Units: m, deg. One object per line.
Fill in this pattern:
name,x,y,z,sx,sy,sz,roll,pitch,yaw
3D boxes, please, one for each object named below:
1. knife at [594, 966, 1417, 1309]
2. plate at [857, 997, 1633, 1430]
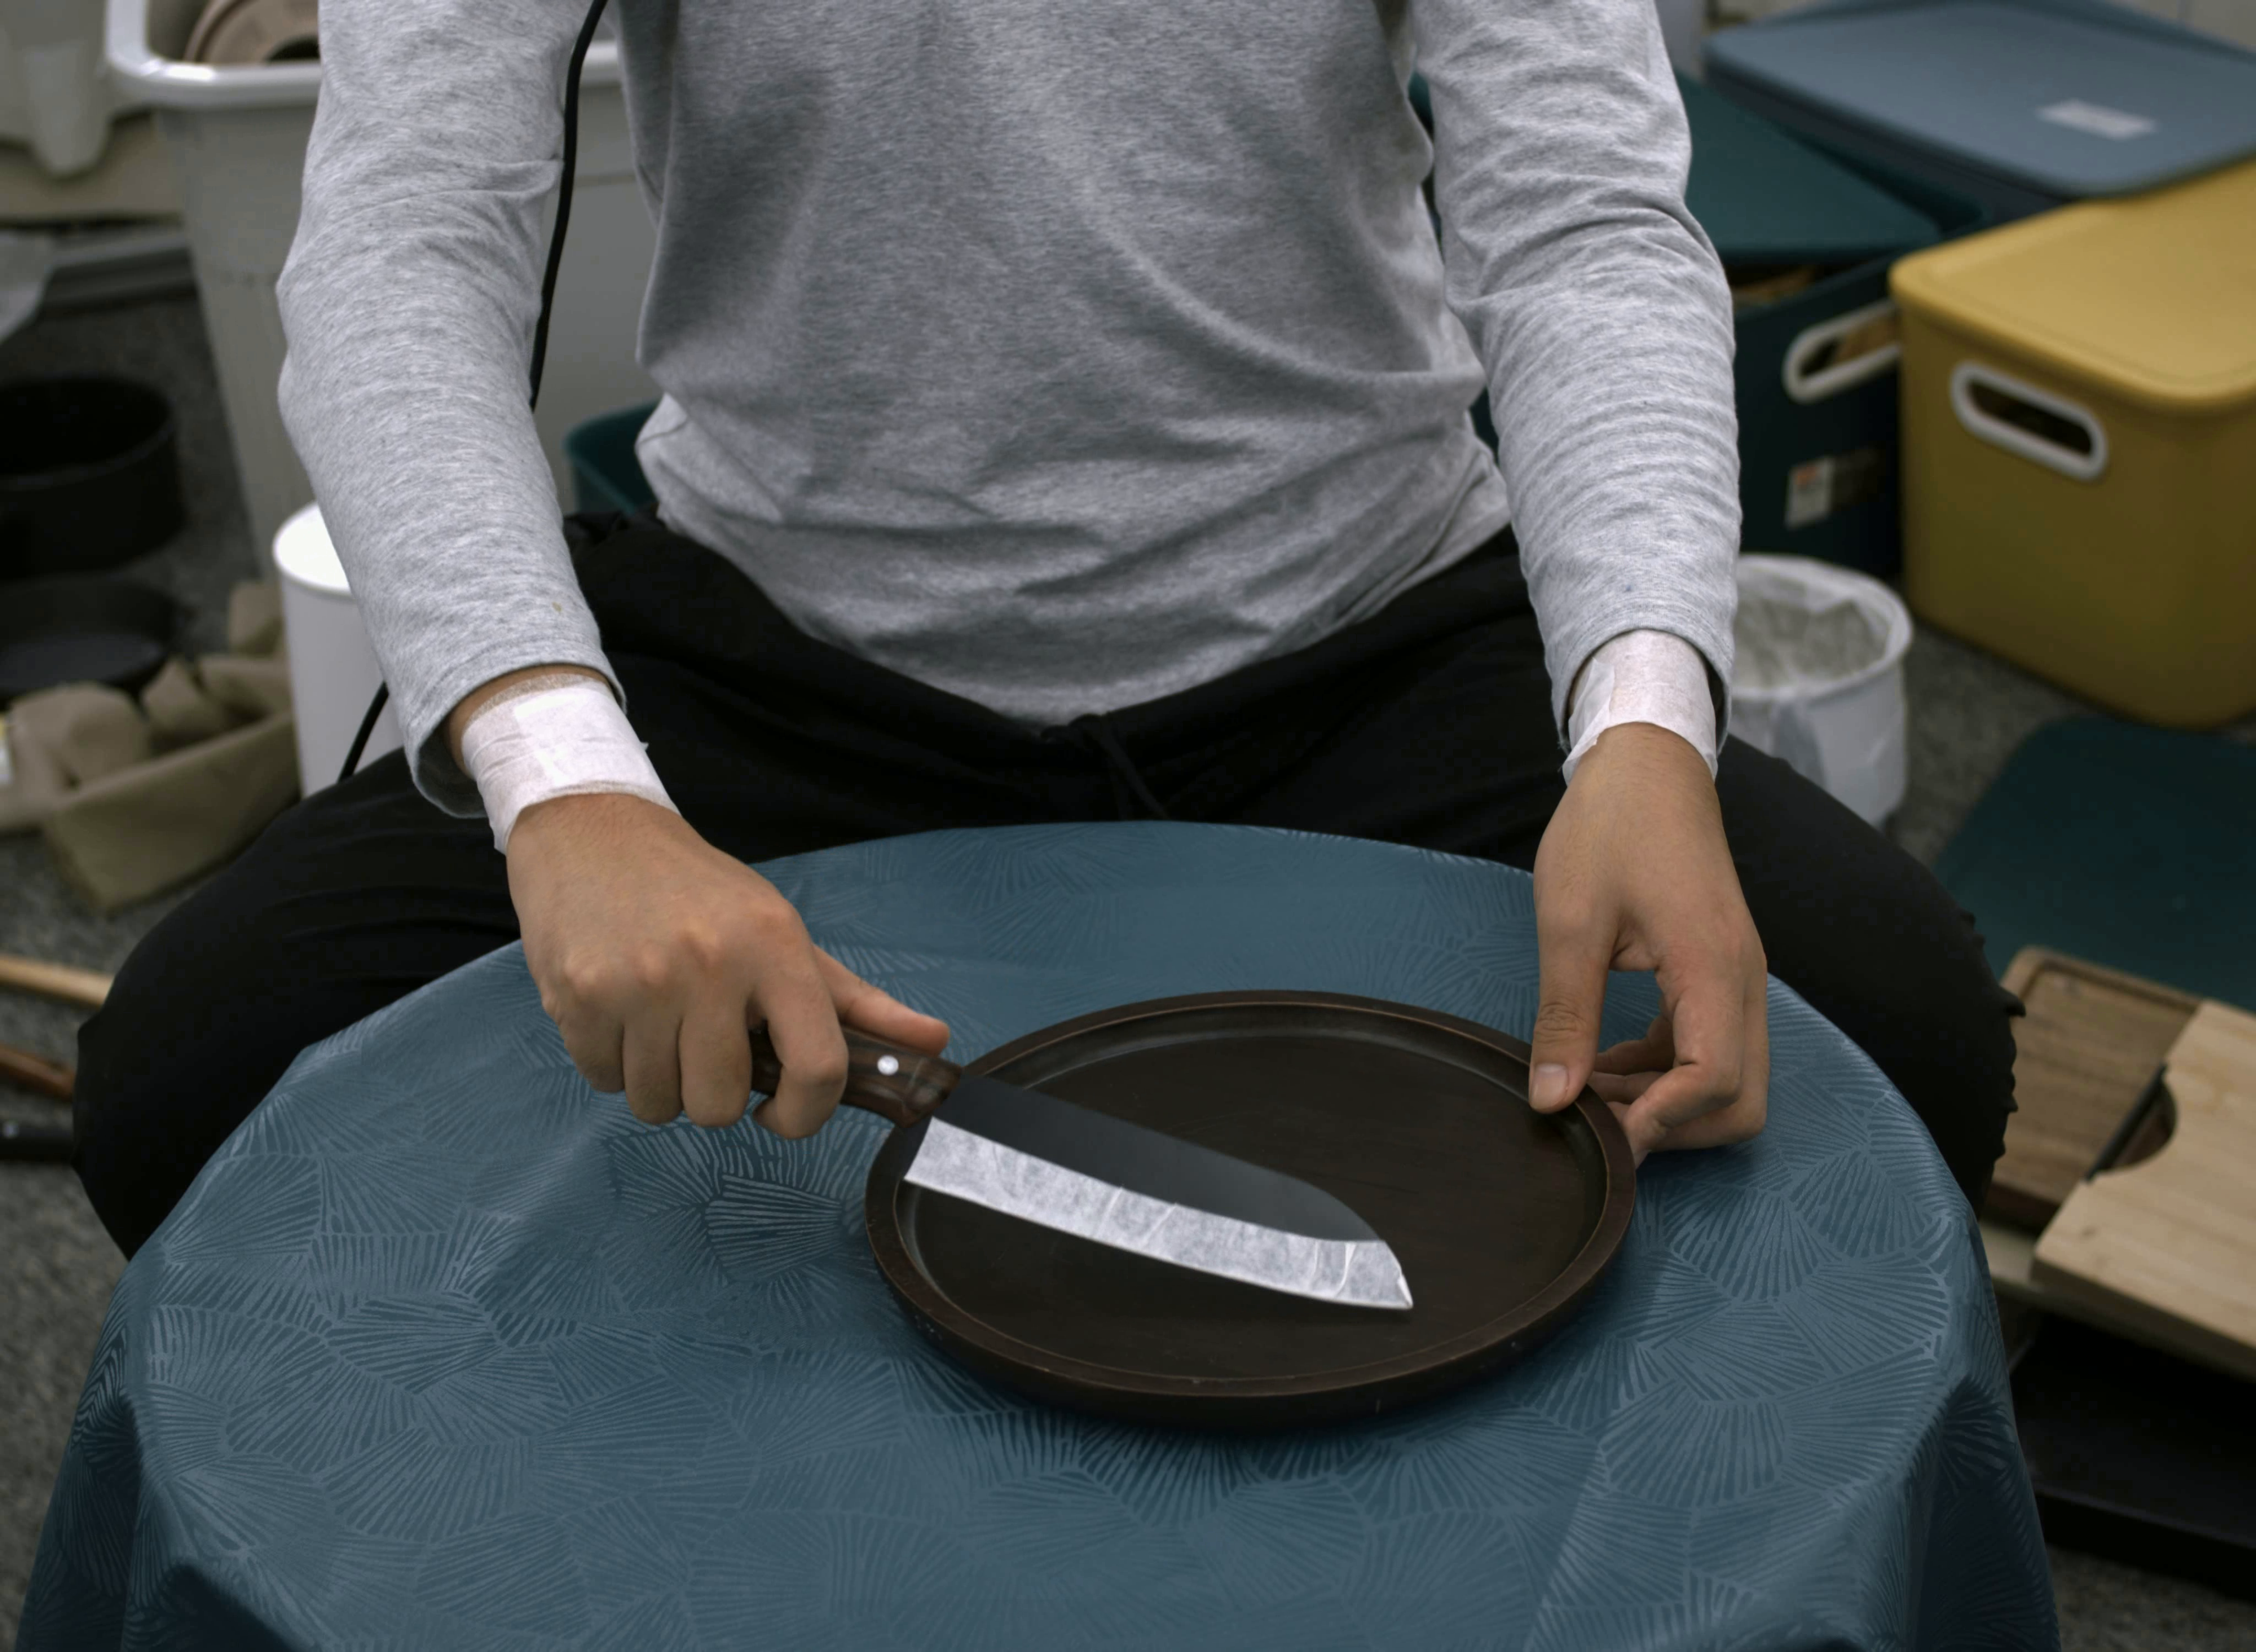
knife,-0.042,0.100,1.792,0.288,0.020,0.051,20,61,11
plate,0.038,0.124,1.828,0.253,0.029,0.258,-4,26,2
